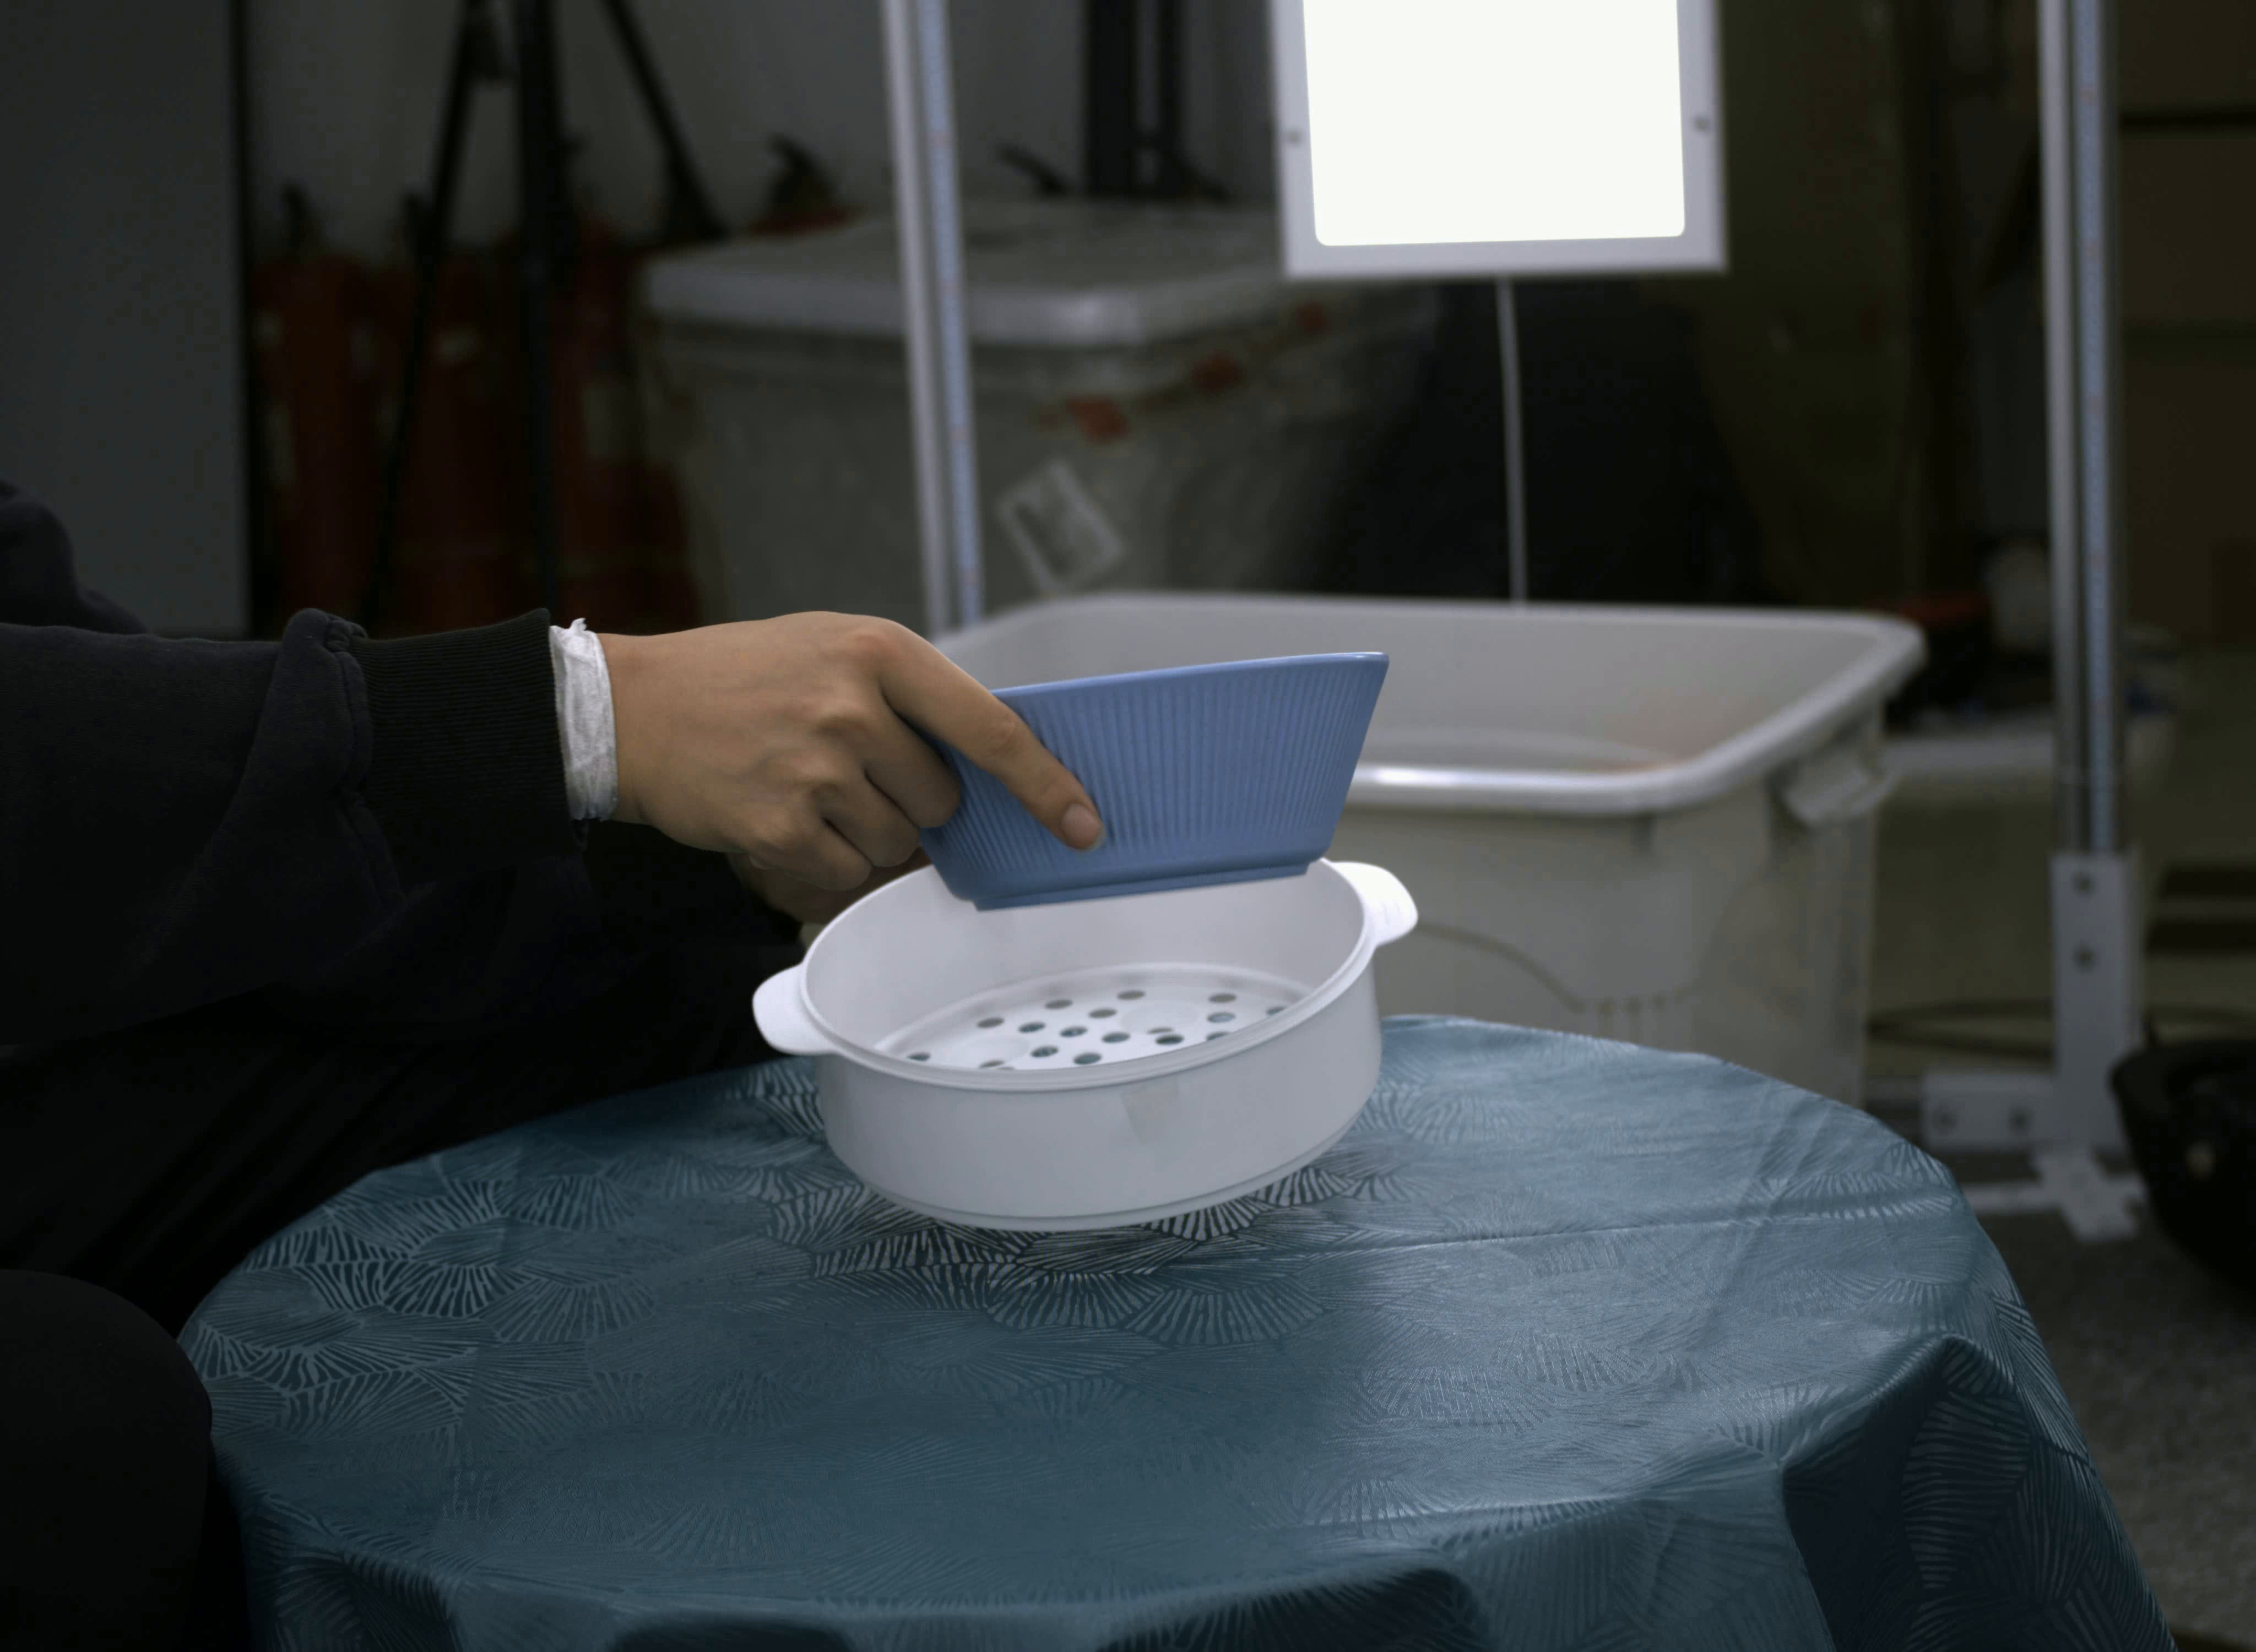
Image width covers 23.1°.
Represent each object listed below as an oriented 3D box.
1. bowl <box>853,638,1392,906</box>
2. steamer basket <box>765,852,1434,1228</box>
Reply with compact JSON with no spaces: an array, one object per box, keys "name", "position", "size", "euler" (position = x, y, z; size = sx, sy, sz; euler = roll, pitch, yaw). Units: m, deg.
[{"name":"bowl","position":[0.002,-0.015,1.770],"size":[0.175,0.070,0.176],"euler":[-7,-1,-2]},{"name":"steamer basket","position":[-0.007,0.069,1.886],"size":[0.228,0.069,0.203],"euler":[-9,23,-8]}]
